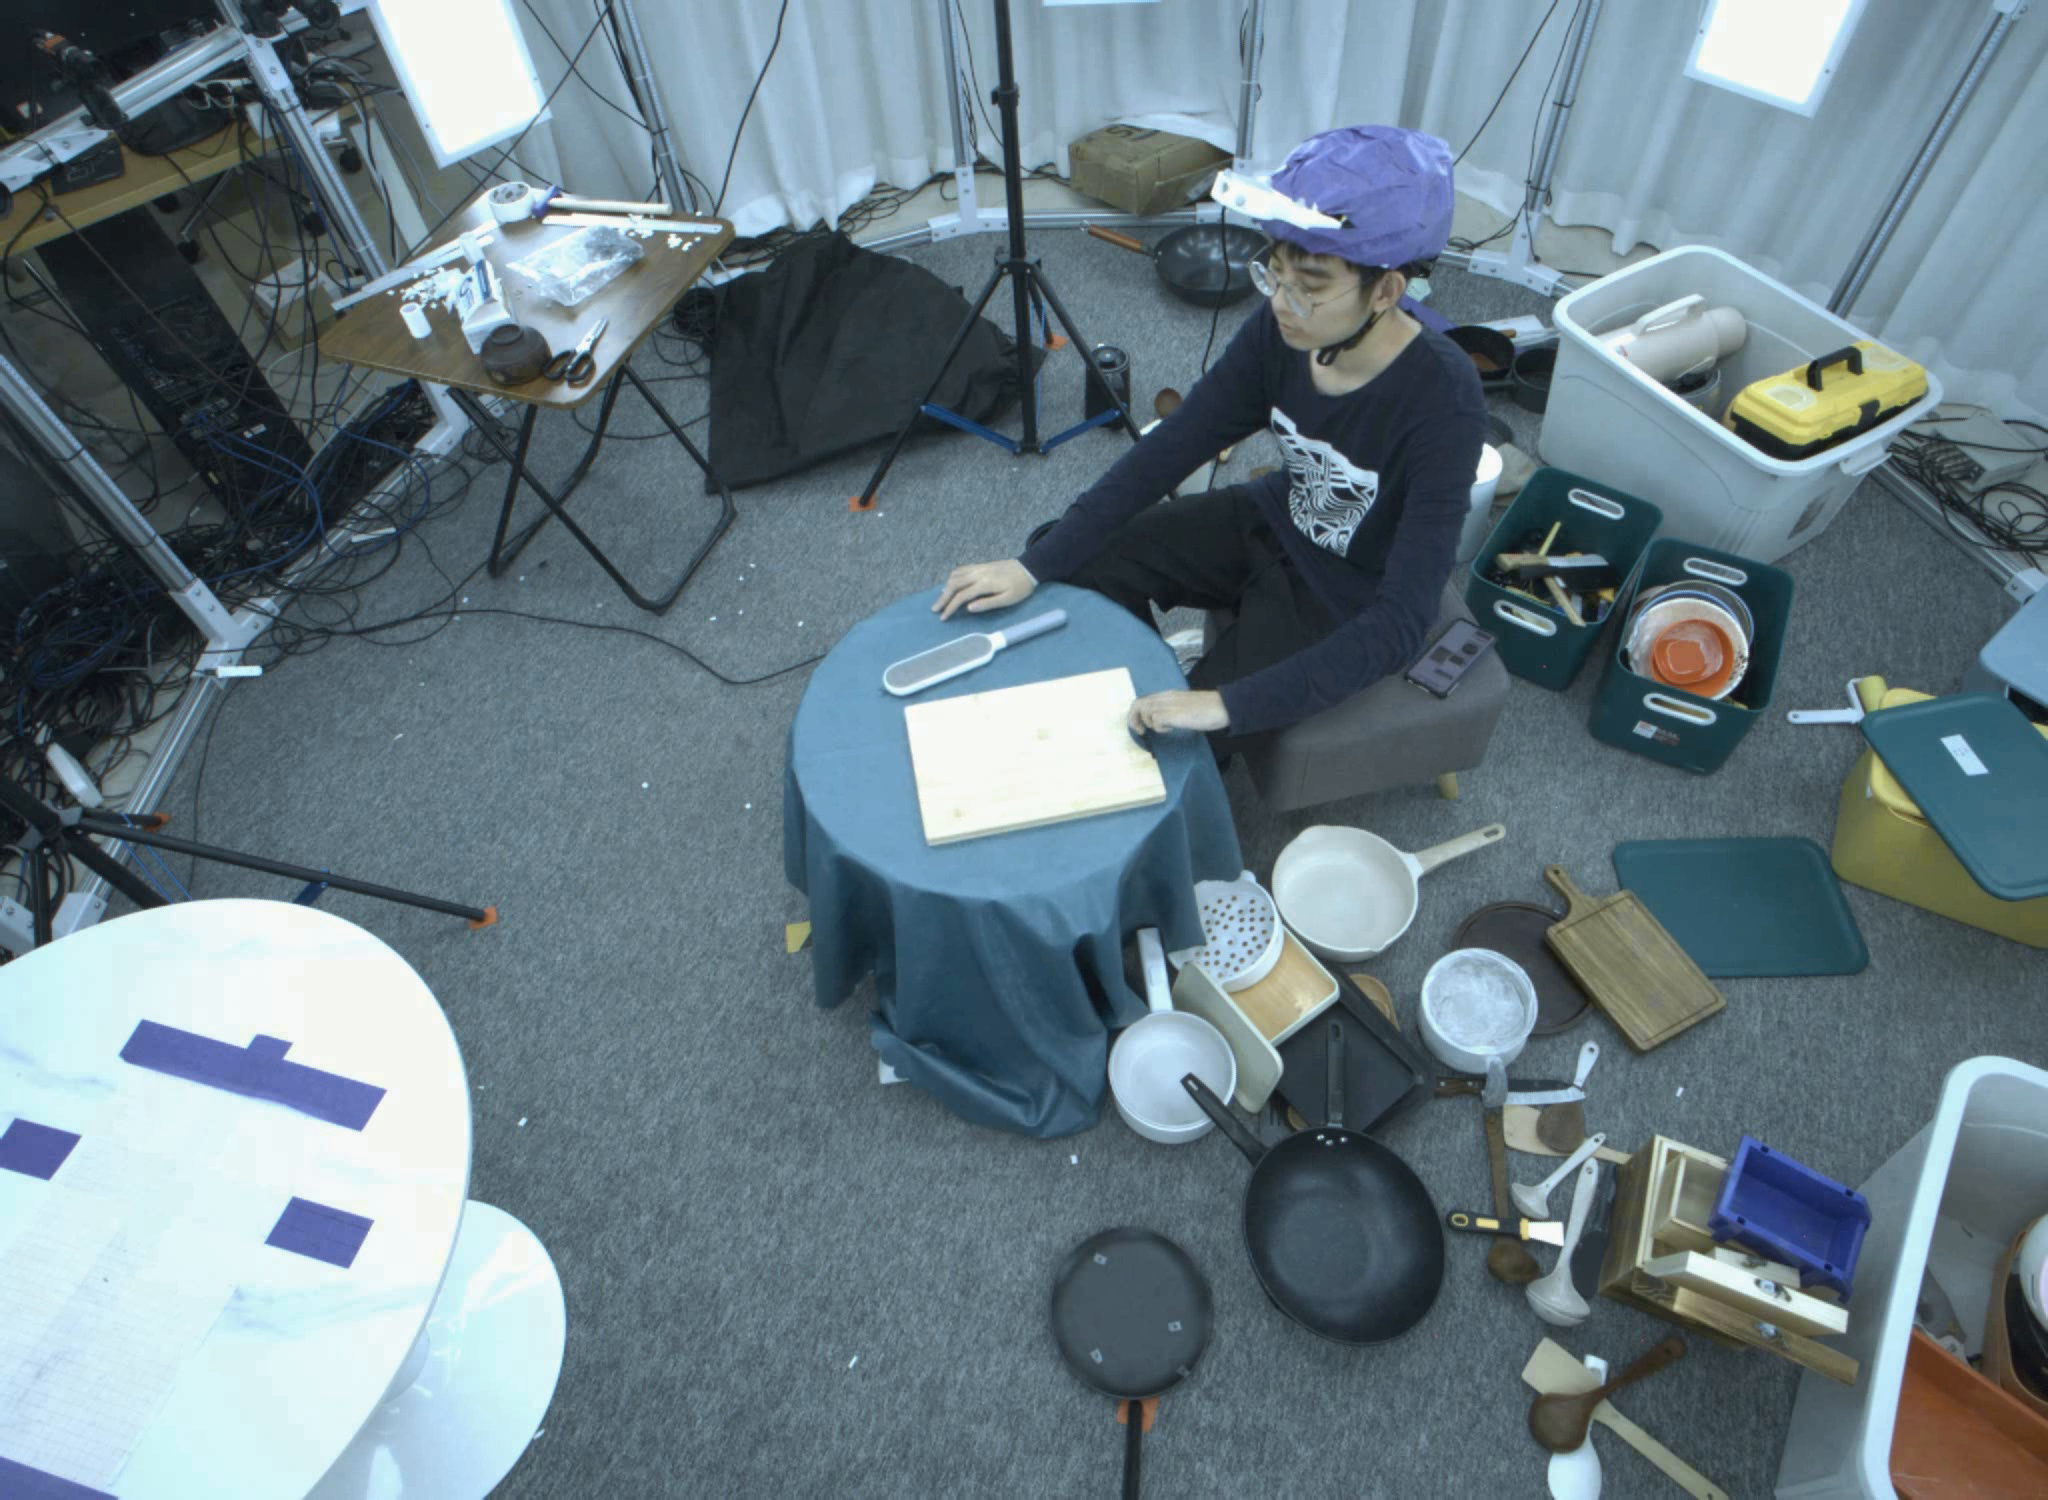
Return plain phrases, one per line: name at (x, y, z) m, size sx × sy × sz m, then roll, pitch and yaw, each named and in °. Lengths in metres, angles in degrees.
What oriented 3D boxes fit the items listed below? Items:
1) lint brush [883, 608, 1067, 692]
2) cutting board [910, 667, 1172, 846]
lint brush at (-0.073, -0.157, 1.893) m, size 0.311 × 0.021 × 0.059 m, roll -22°, pitch 51°, yaw -14°
cutting board at (0.015, 0.003, 1.783) m, size 0.350 × 0.024 × 0.247 m, roll -11°, pitch 55°, yaw -6°
